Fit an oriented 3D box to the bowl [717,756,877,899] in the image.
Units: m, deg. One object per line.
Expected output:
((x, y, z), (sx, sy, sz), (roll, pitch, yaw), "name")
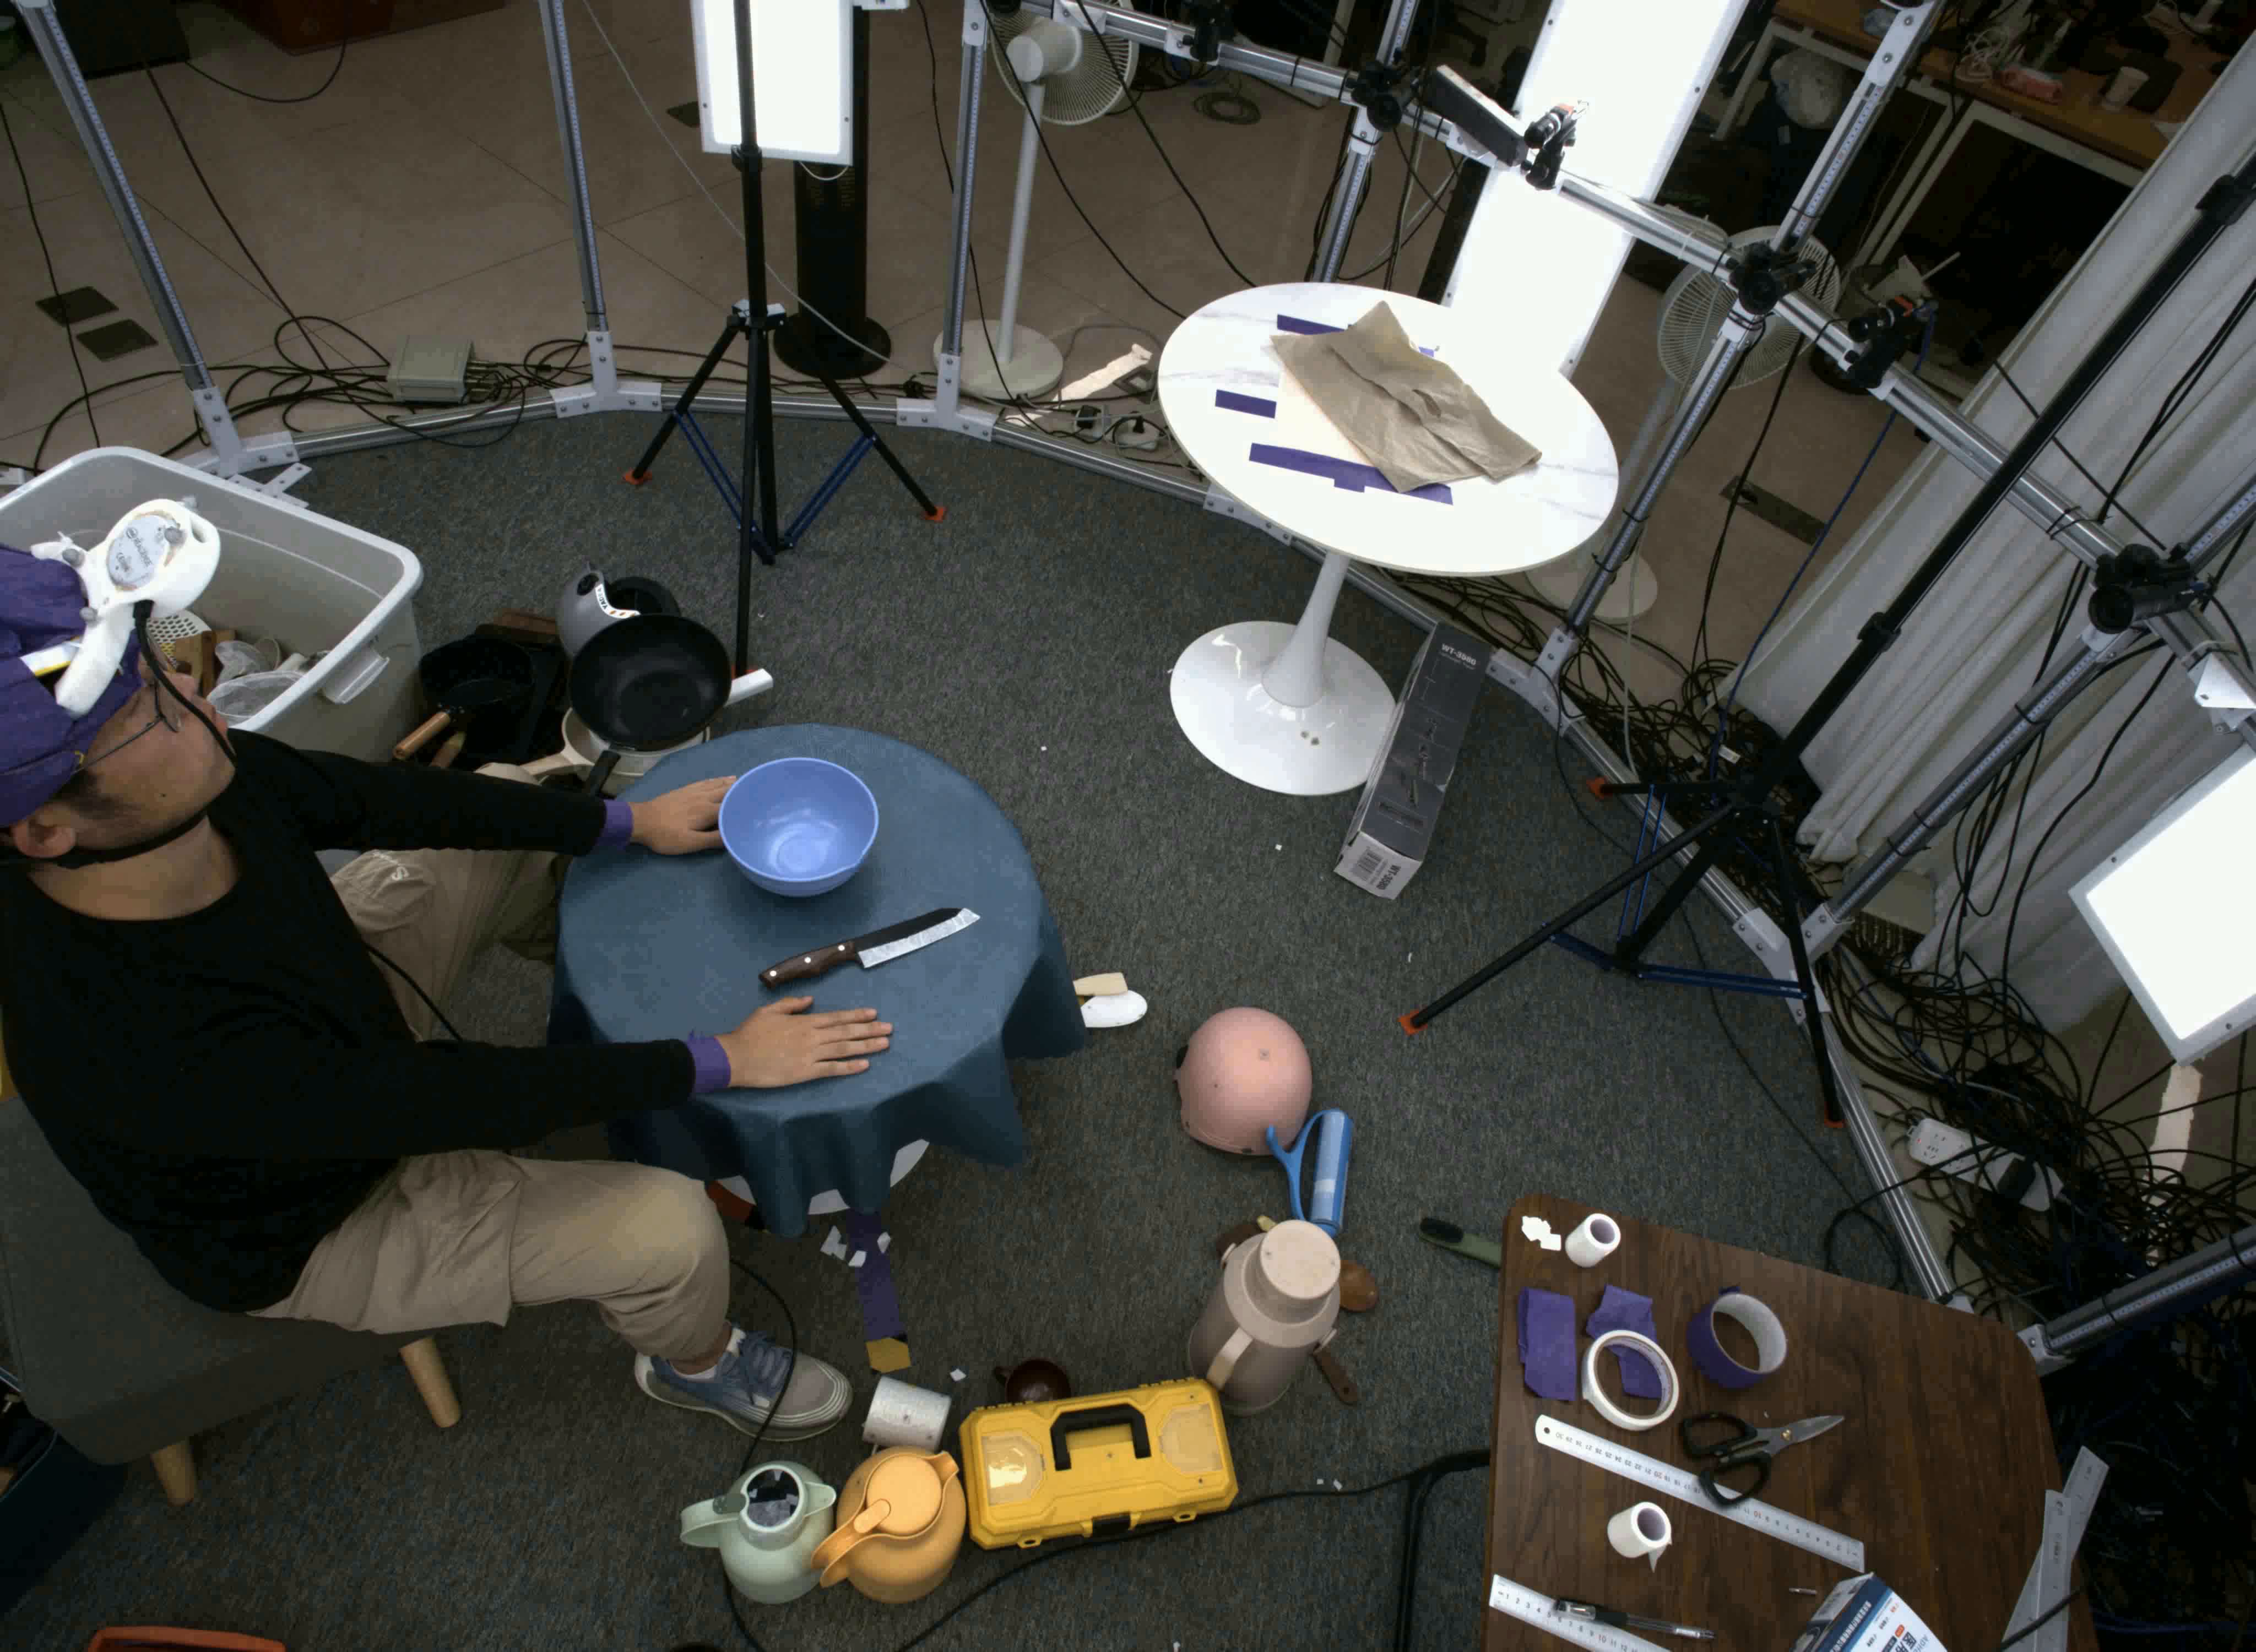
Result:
((-0.418, 0.016, 1.652), (0.196, 0.097, 0.193), (7, 54, -8), "bowl")

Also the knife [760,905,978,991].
((-0.318, 0.149, 1.628), (0.291, 0.020, 0.049), (-17, 64, -28), "knife")
